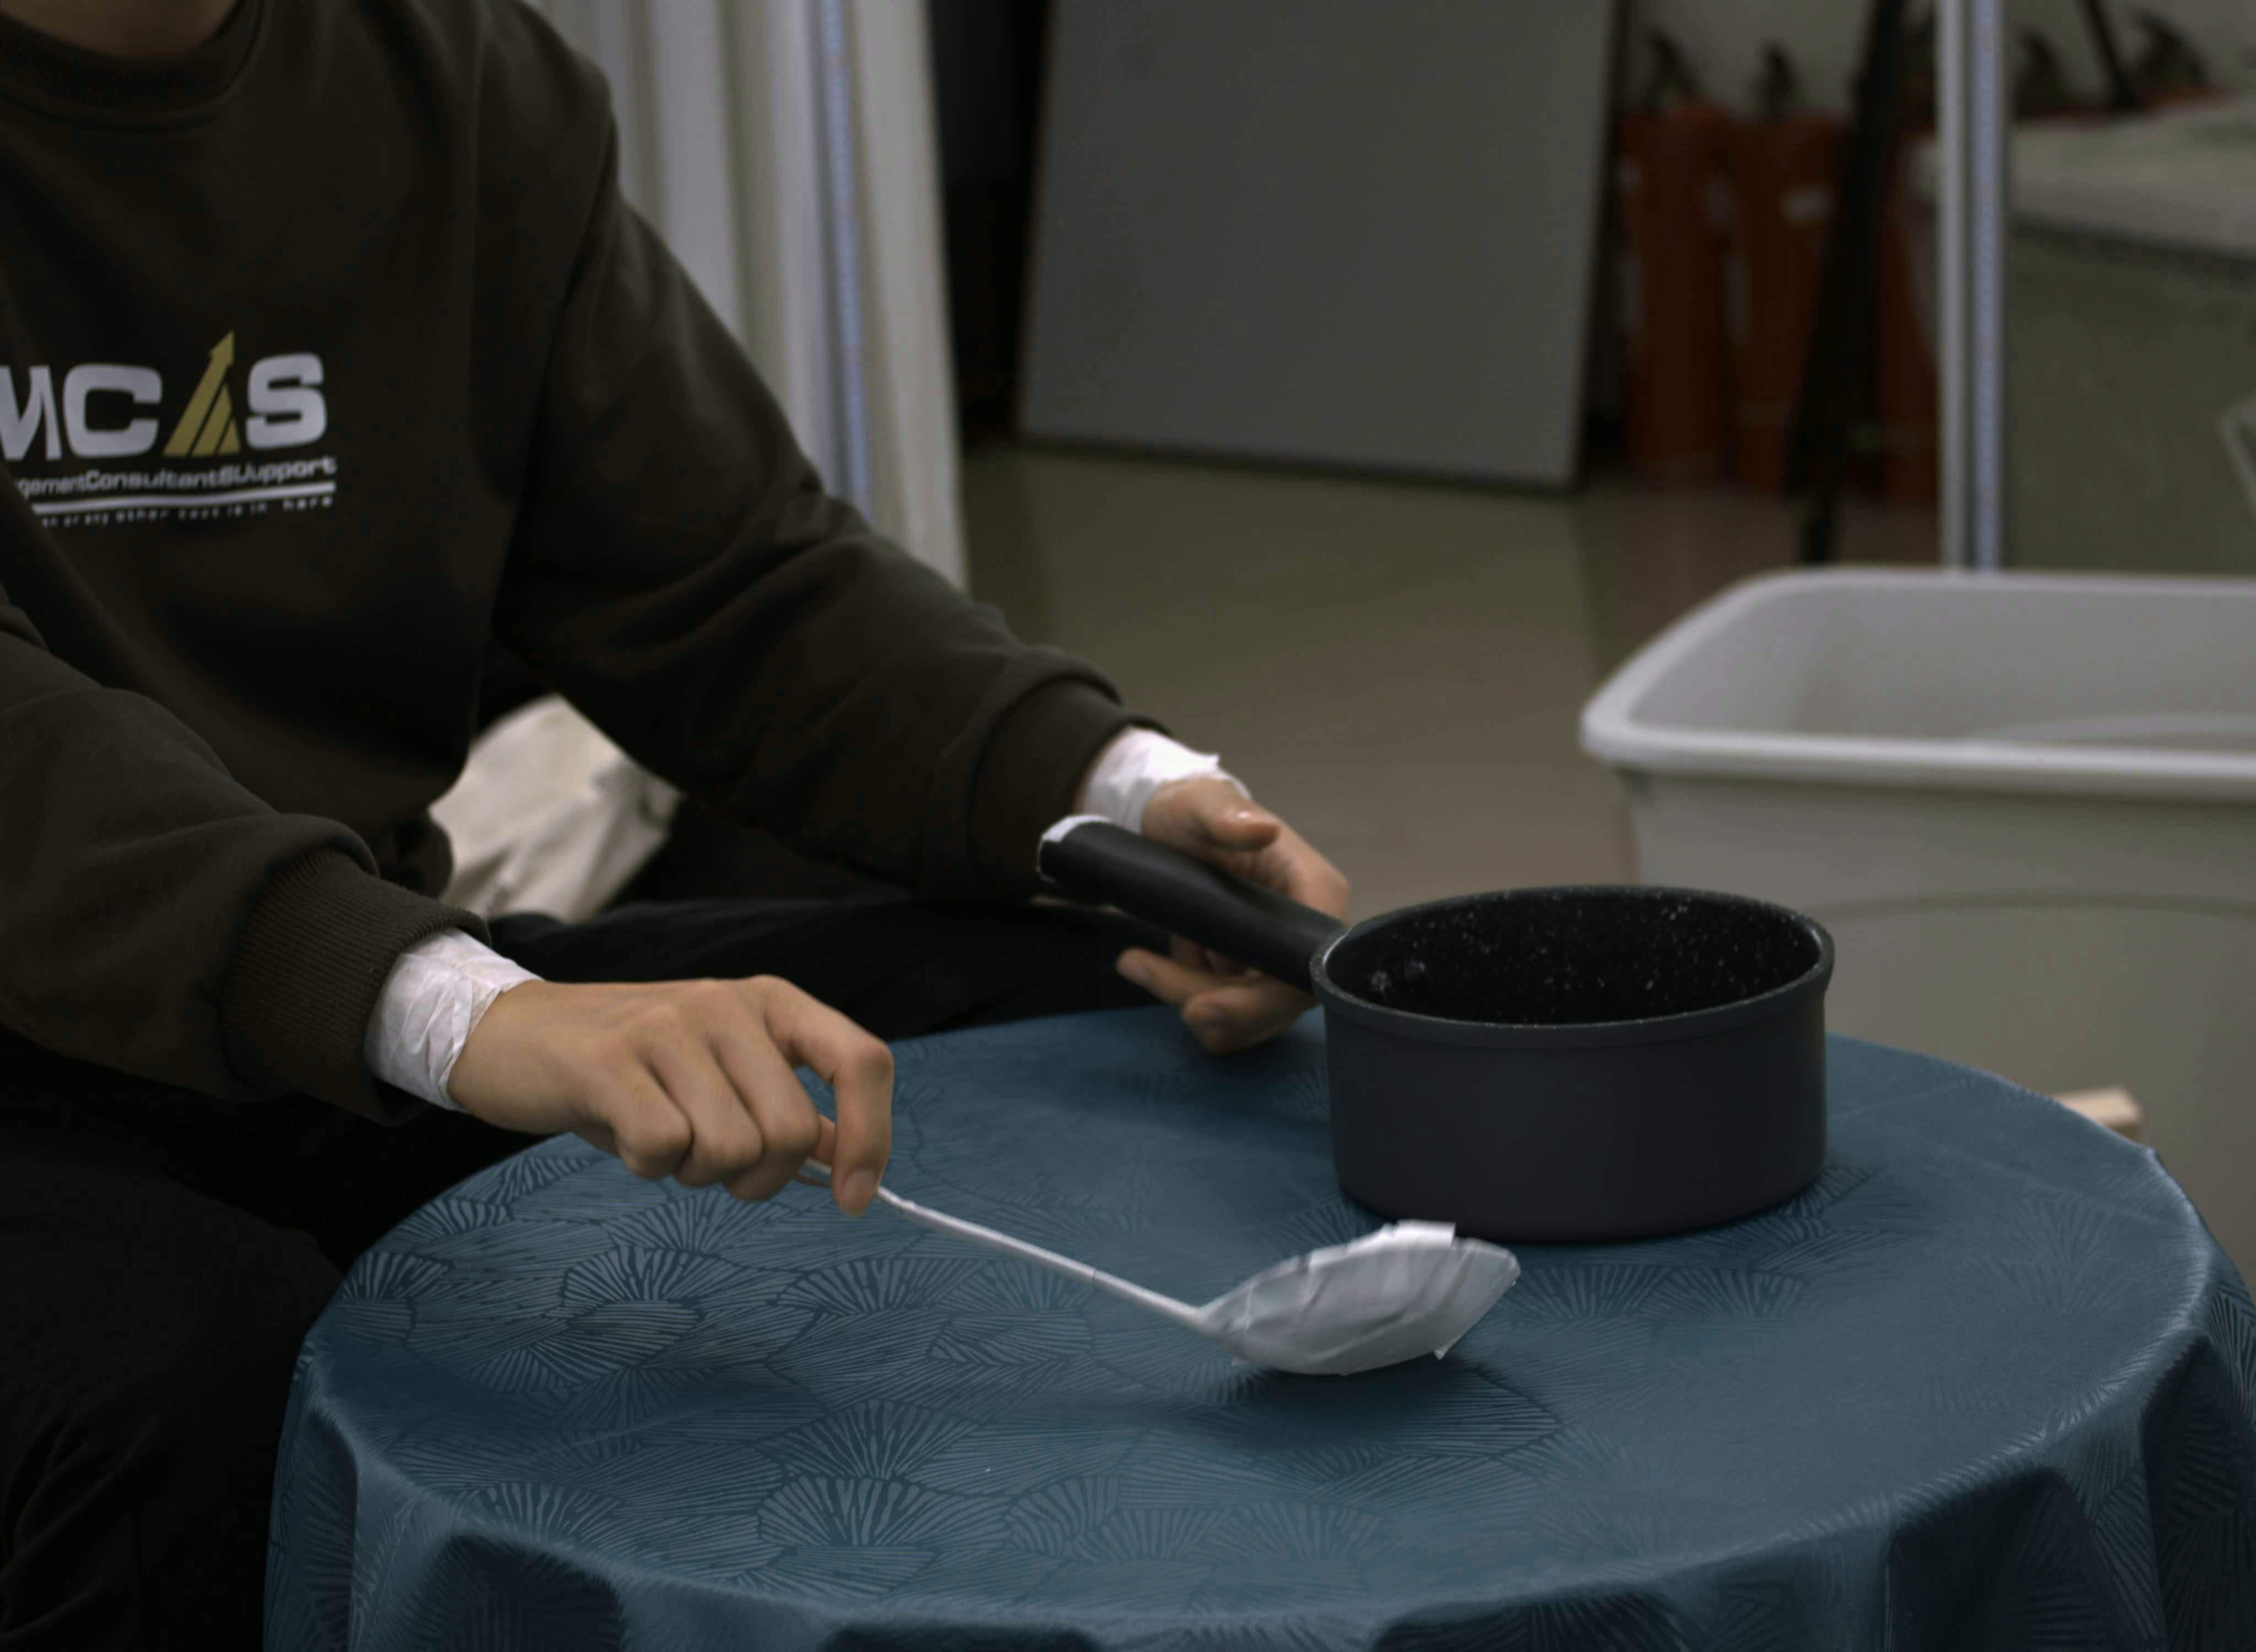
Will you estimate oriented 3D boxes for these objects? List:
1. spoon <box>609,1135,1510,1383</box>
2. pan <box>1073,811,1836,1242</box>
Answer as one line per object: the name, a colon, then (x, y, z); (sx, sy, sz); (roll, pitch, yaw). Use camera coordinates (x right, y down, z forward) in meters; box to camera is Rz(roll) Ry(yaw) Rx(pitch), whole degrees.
spoon: (-0.022, 0.112, 1.607); (0.277, 0.100, 0.059); (15, 61, 22)
pan: (0.095, 0.062, 1.812); (0.168, 0.087, 0.332); (-13, 17, -38)
